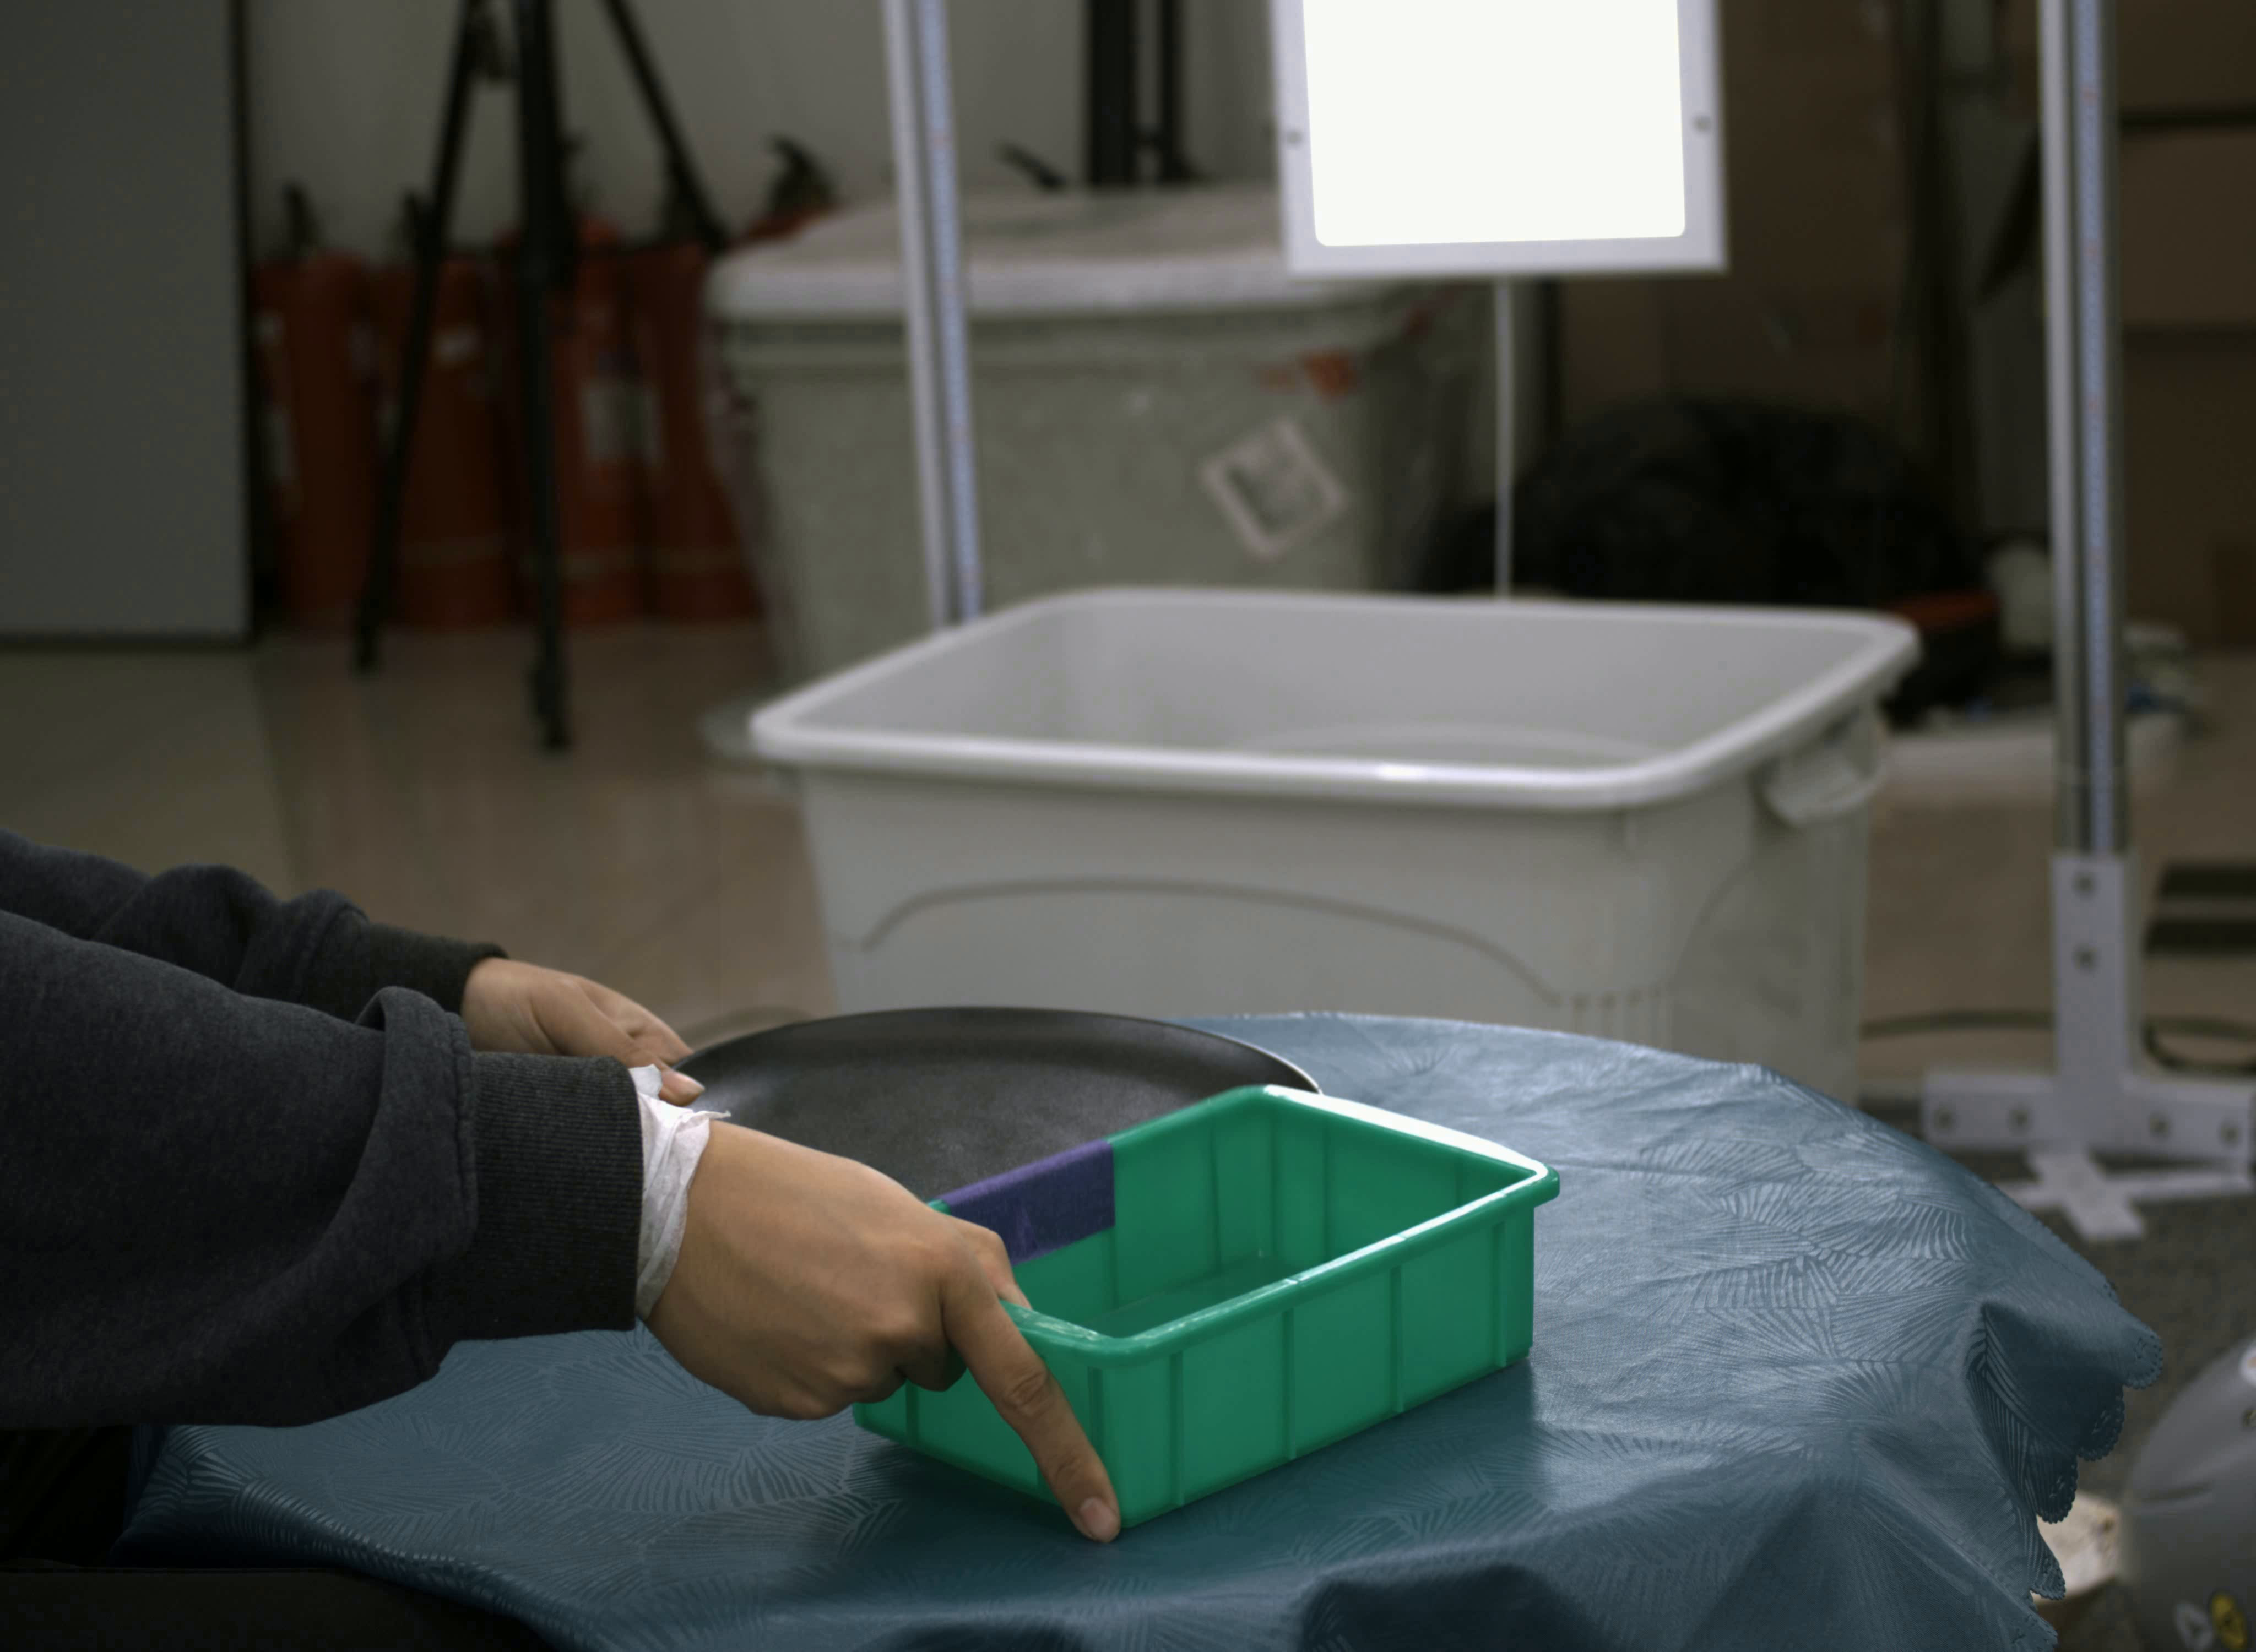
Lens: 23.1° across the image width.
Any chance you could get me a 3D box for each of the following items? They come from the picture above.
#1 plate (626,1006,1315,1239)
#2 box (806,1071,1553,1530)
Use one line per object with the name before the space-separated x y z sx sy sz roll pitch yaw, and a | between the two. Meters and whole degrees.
plate | -0.053 0.108 1.914 0.243 0.023 0.244 -1 16 -1
box | 0.019 0.142 1.671 0.205 0.065 0.141 -20 23 -40
